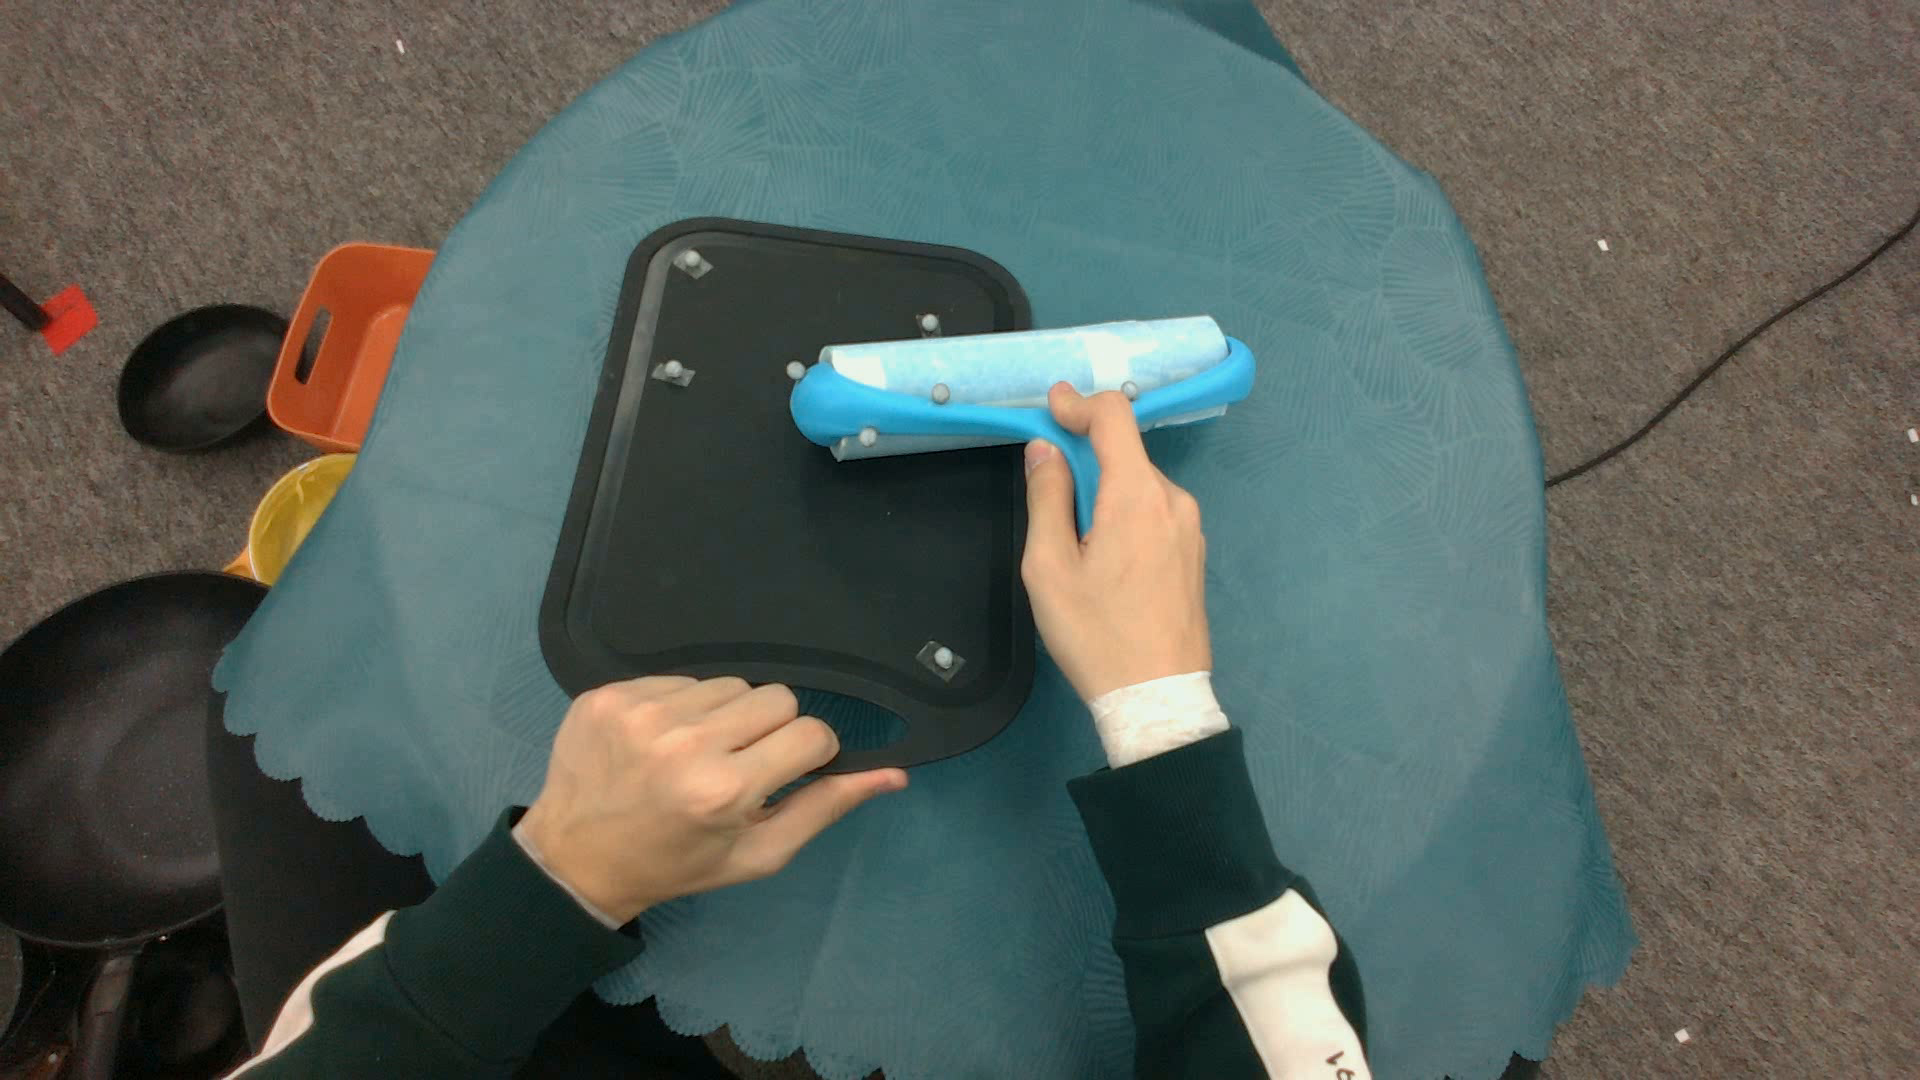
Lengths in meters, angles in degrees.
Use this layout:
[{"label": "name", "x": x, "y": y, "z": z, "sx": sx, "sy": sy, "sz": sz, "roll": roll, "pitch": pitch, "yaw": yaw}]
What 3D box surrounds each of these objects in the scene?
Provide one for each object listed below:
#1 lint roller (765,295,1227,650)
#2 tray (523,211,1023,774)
[{"label": "lint roller", "x": 0.040, "y": -0.040, "z": 0.625, "sx": 0.229, "sy": 0.067, "sz": 0.181, "roll": -10, "pitch": 51, "yaw": -20}, {"label": "tray", "x": -0.076, "y": -0.039, "z": 0.640, "sx": 0.211, "sy": 0.010, "sz": 0.327, "roll": 5, "pitch": 53, "yaw": -7}]
